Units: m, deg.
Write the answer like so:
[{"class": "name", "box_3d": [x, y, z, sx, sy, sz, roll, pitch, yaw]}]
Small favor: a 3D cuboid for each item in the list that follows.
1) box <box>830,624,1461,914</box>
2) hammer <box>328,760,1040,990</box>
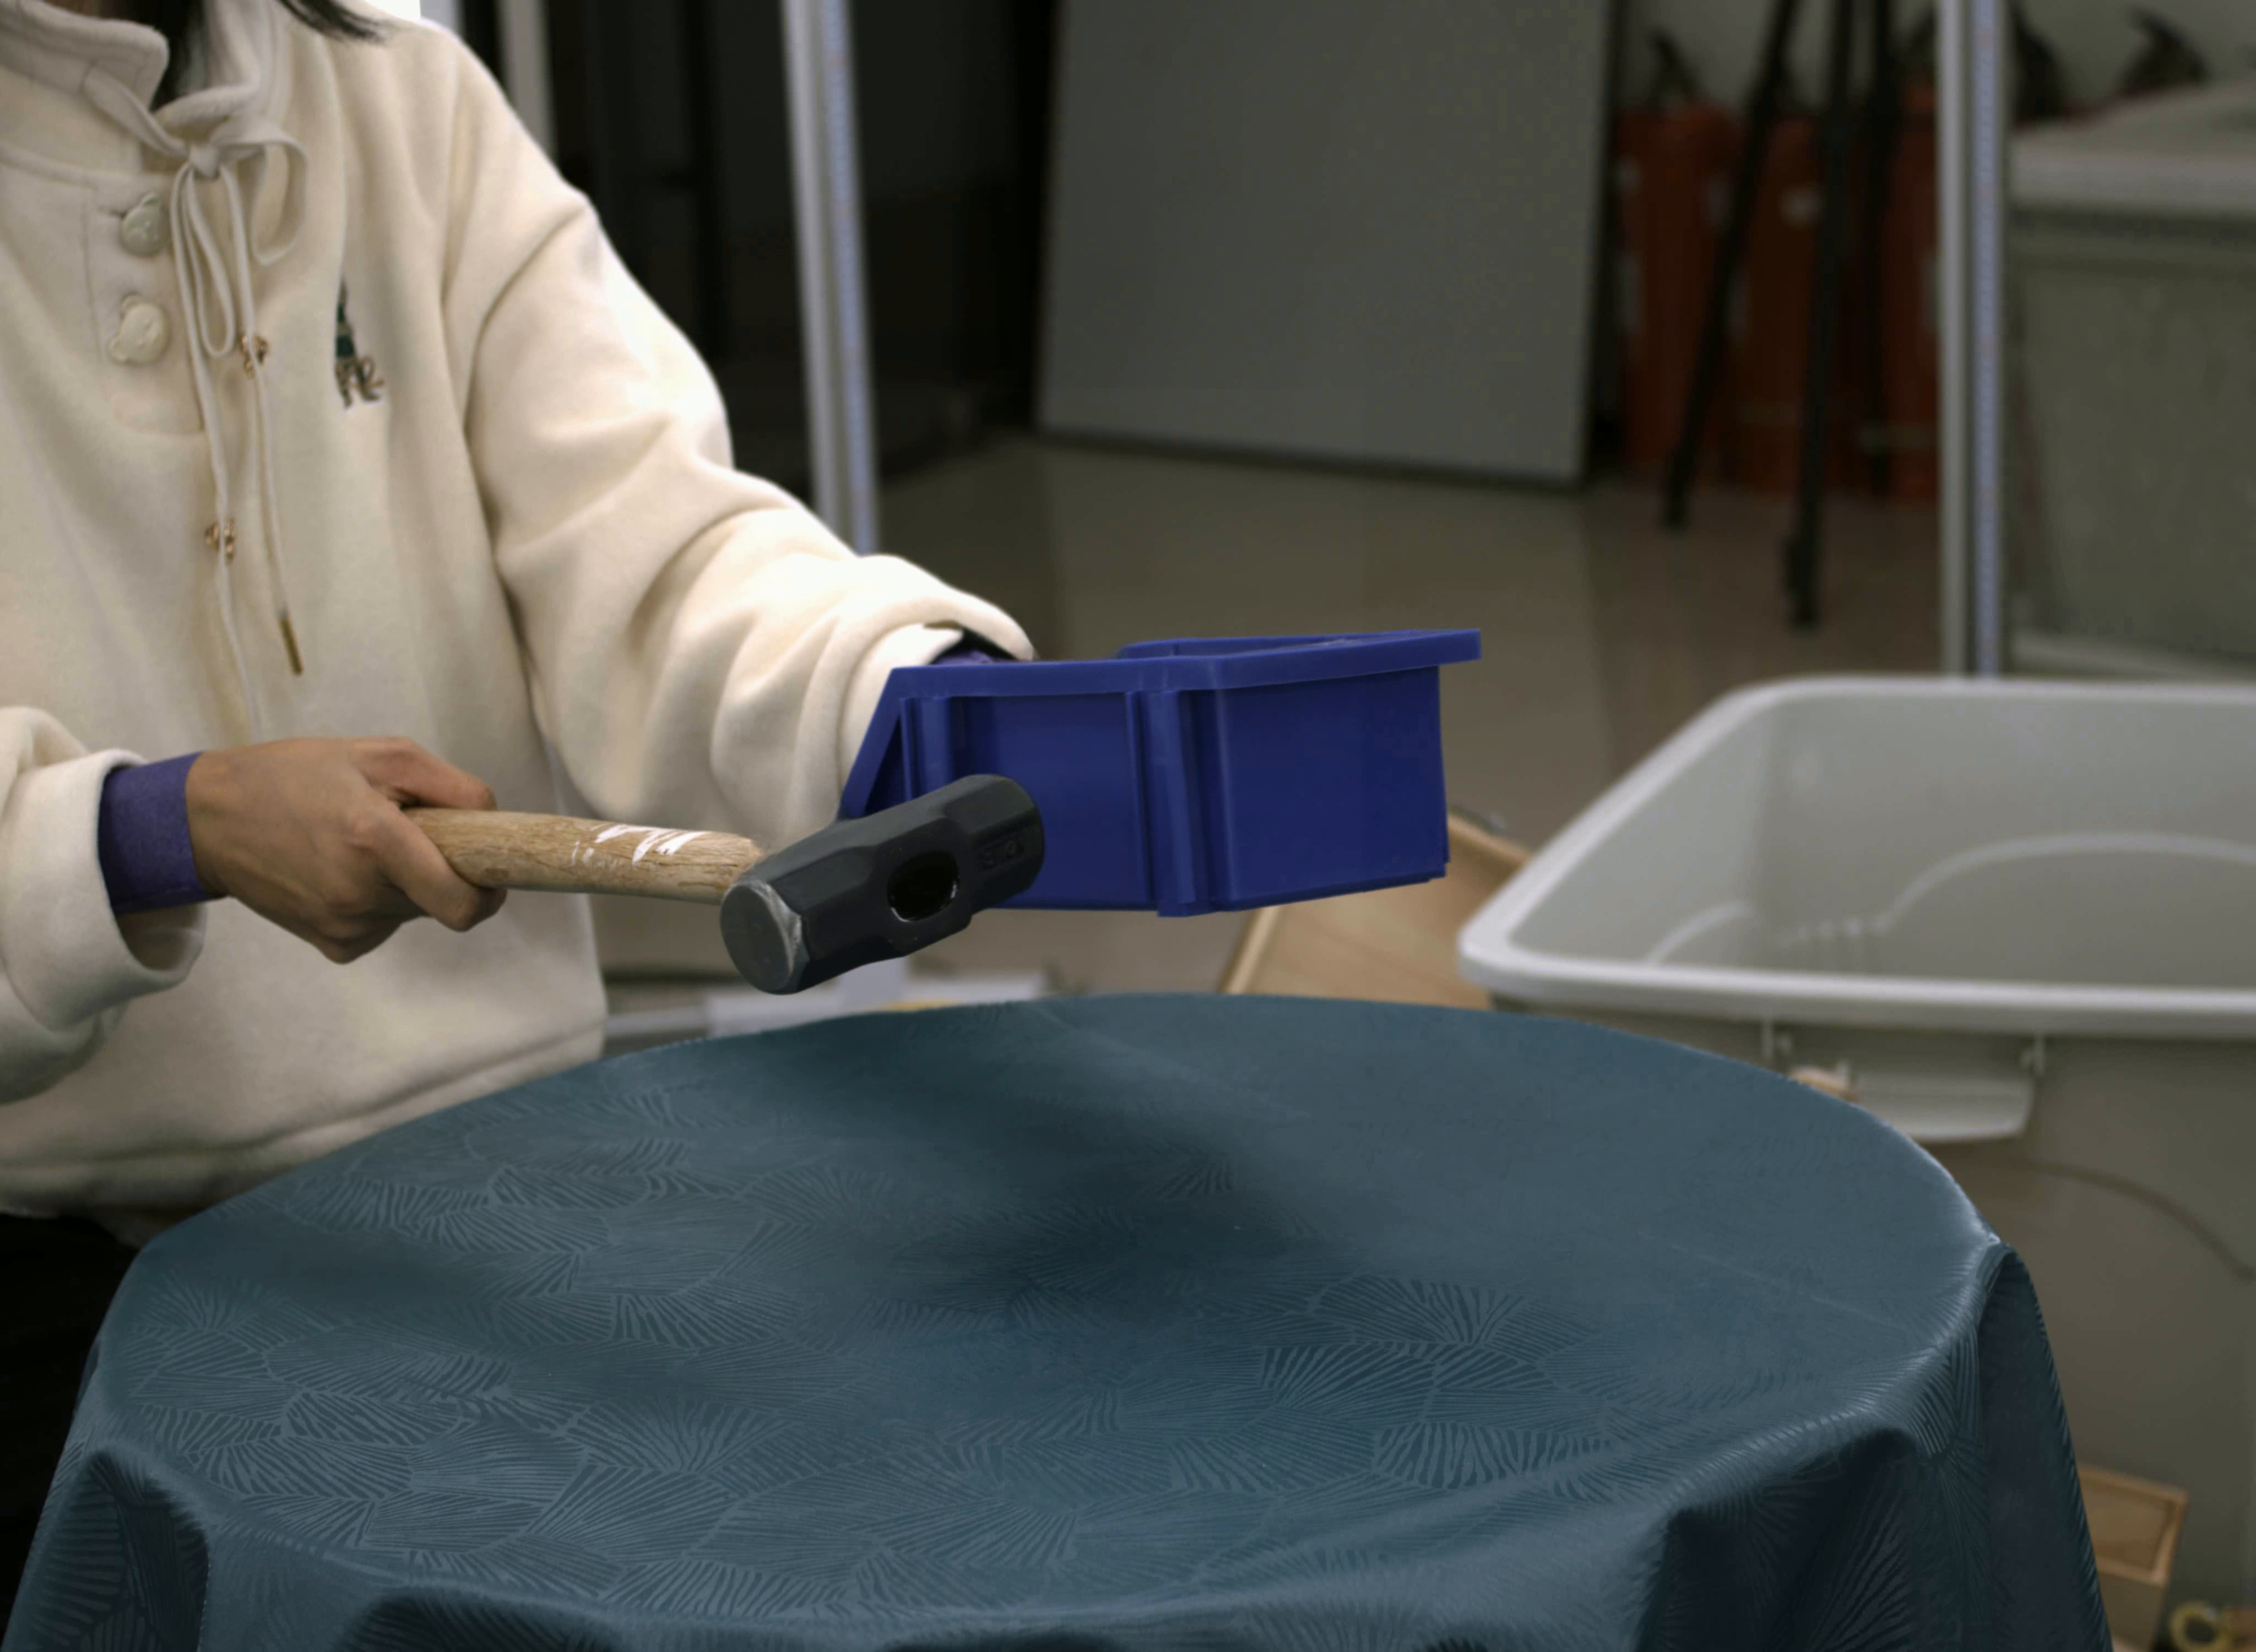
[{"class": "box", "box_3d": [0.002, -0.020, 1.731, 0.122, 0.083, 0.181, -7, 6, -43]}, {"class": "hammer", "box_3d": [-0.161, 0.008, 1.718, 0.105, 0.038, 0.308, -24, 18, -36]}]
